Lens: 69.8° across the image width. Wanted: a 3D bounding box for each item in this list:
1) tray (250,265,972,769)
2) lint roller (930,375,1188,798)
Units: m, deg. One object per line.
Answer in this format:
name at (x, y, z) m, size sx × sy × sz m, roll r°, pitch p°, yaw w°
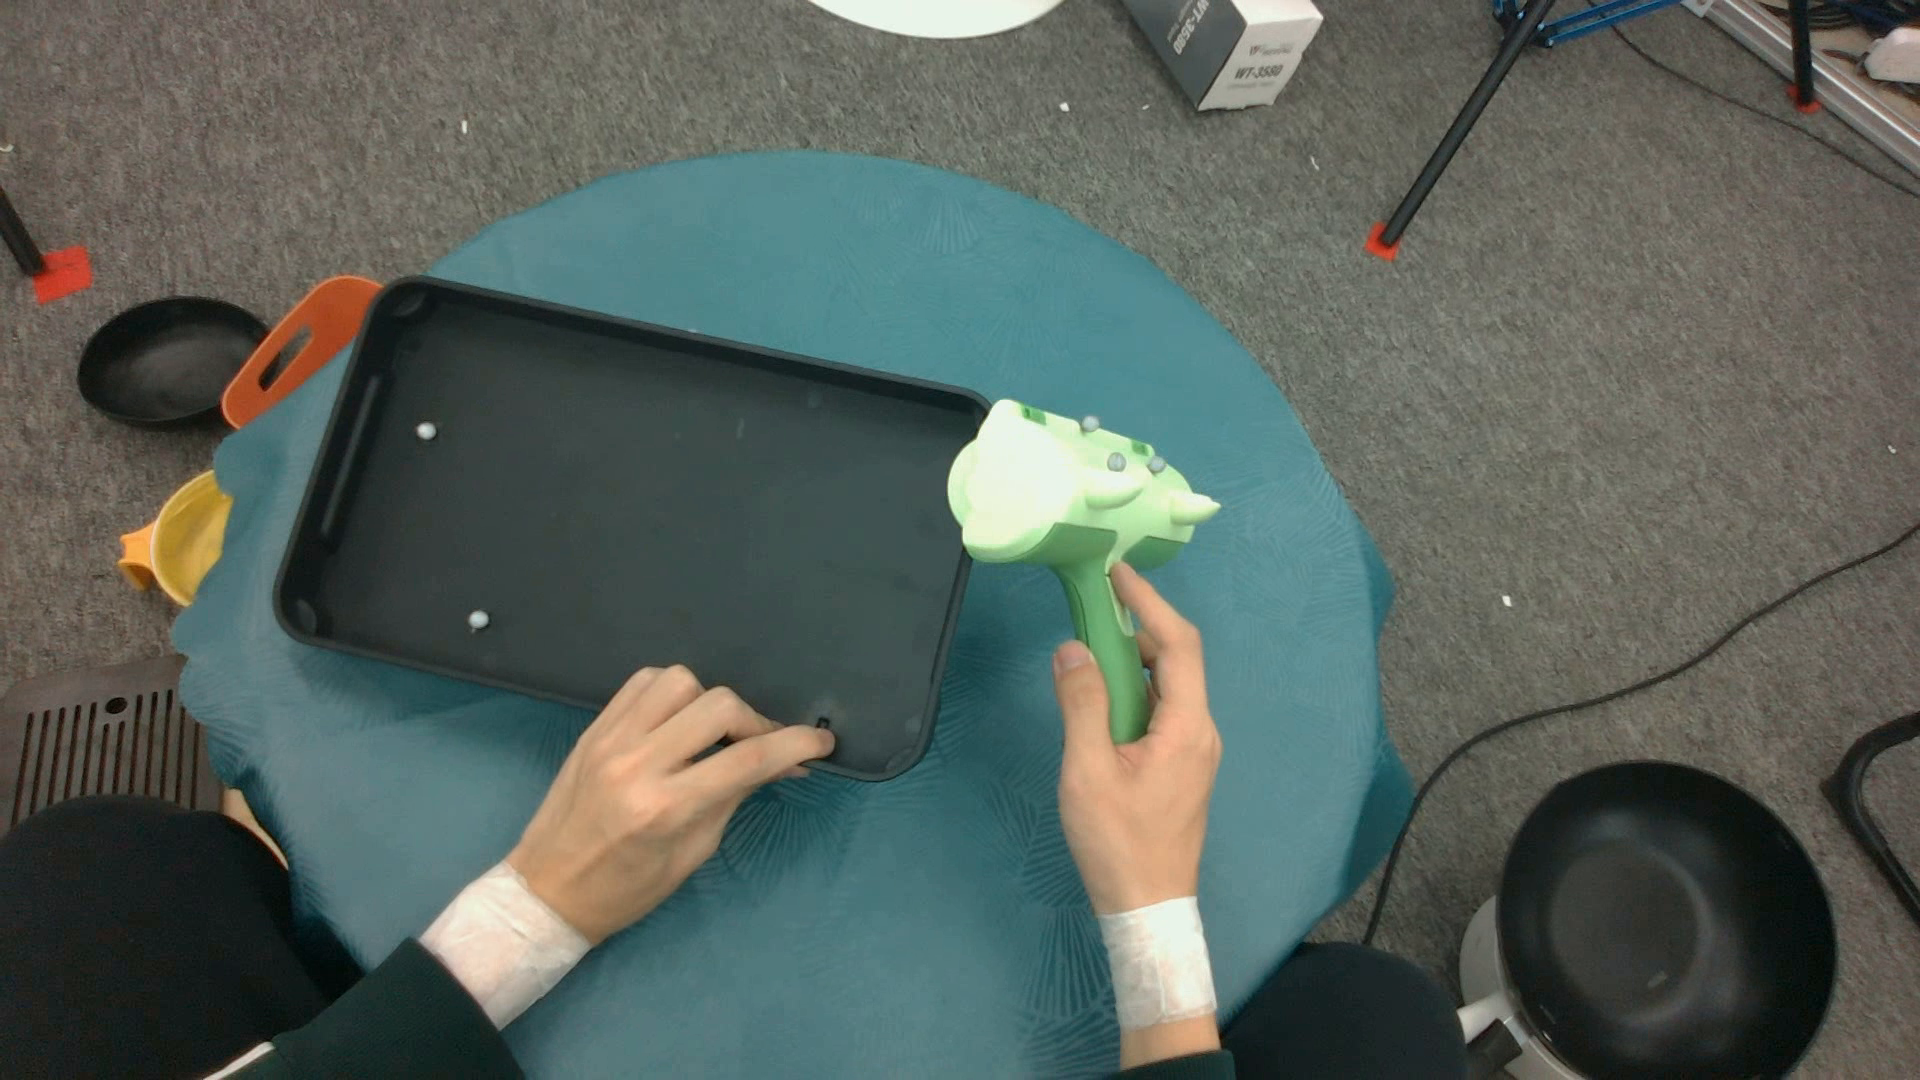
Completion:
tray at (-0.159, -0.014, 0.644) m, size 0.318 × 0.037 × 0.184 m, roll 12°, pitch 81°, yaw 8°
lint roller at (0.068, 0.021, 0.636) m, size 0.082 × 0.199 × 0.183 m, roll -22°, pitch 79°, yaw 21°
